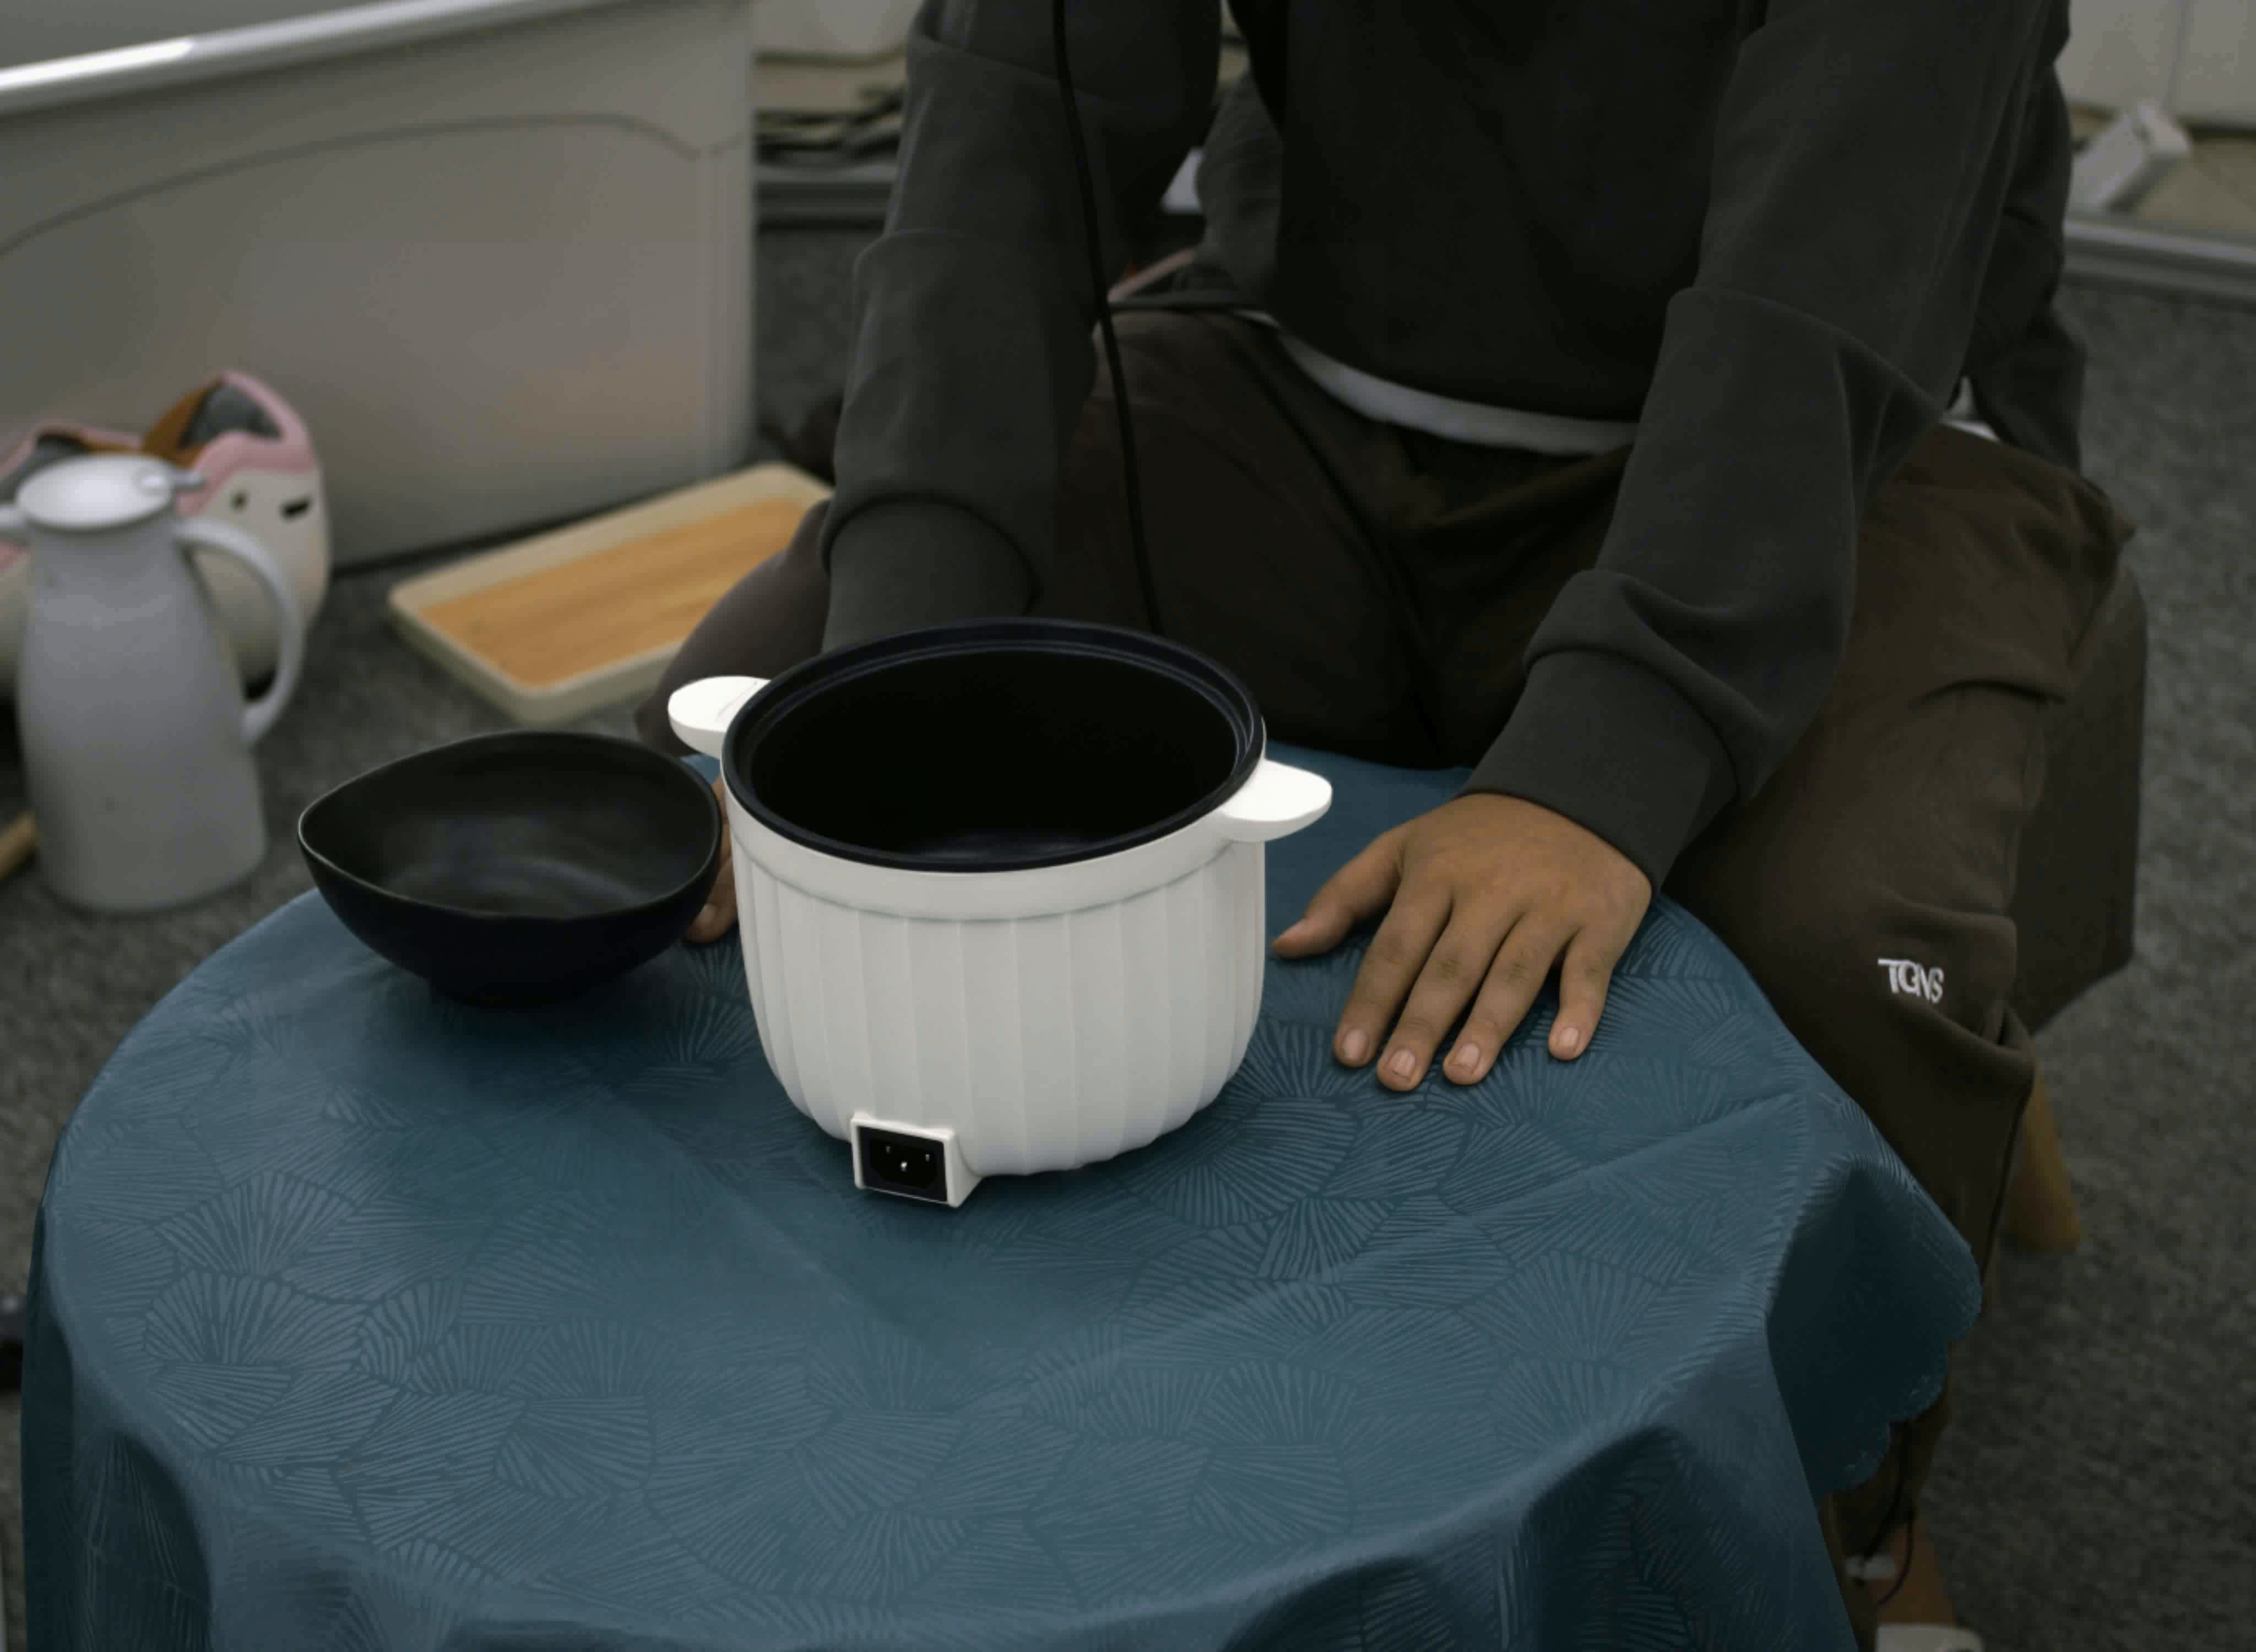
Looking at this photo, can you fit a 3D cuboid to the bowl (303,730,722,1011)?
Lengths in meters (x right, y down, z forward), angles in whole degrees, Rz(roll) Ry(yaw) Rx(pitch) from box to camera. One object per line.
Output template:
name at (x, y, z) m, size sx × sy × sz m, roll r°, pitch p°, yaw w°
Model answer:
bowl at (-0.219, 0.024, 2.004) m, size 0.169 × 0.066 × 0.139 m, roll 18°, pitch 33°, yaw 37°

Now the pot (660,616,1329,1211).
pot at (-0.042, 0.026, 1.905) m, size 0.239 × 0.141 × 0.194 m, roll 10°, pitch 32°, yaw 20°
